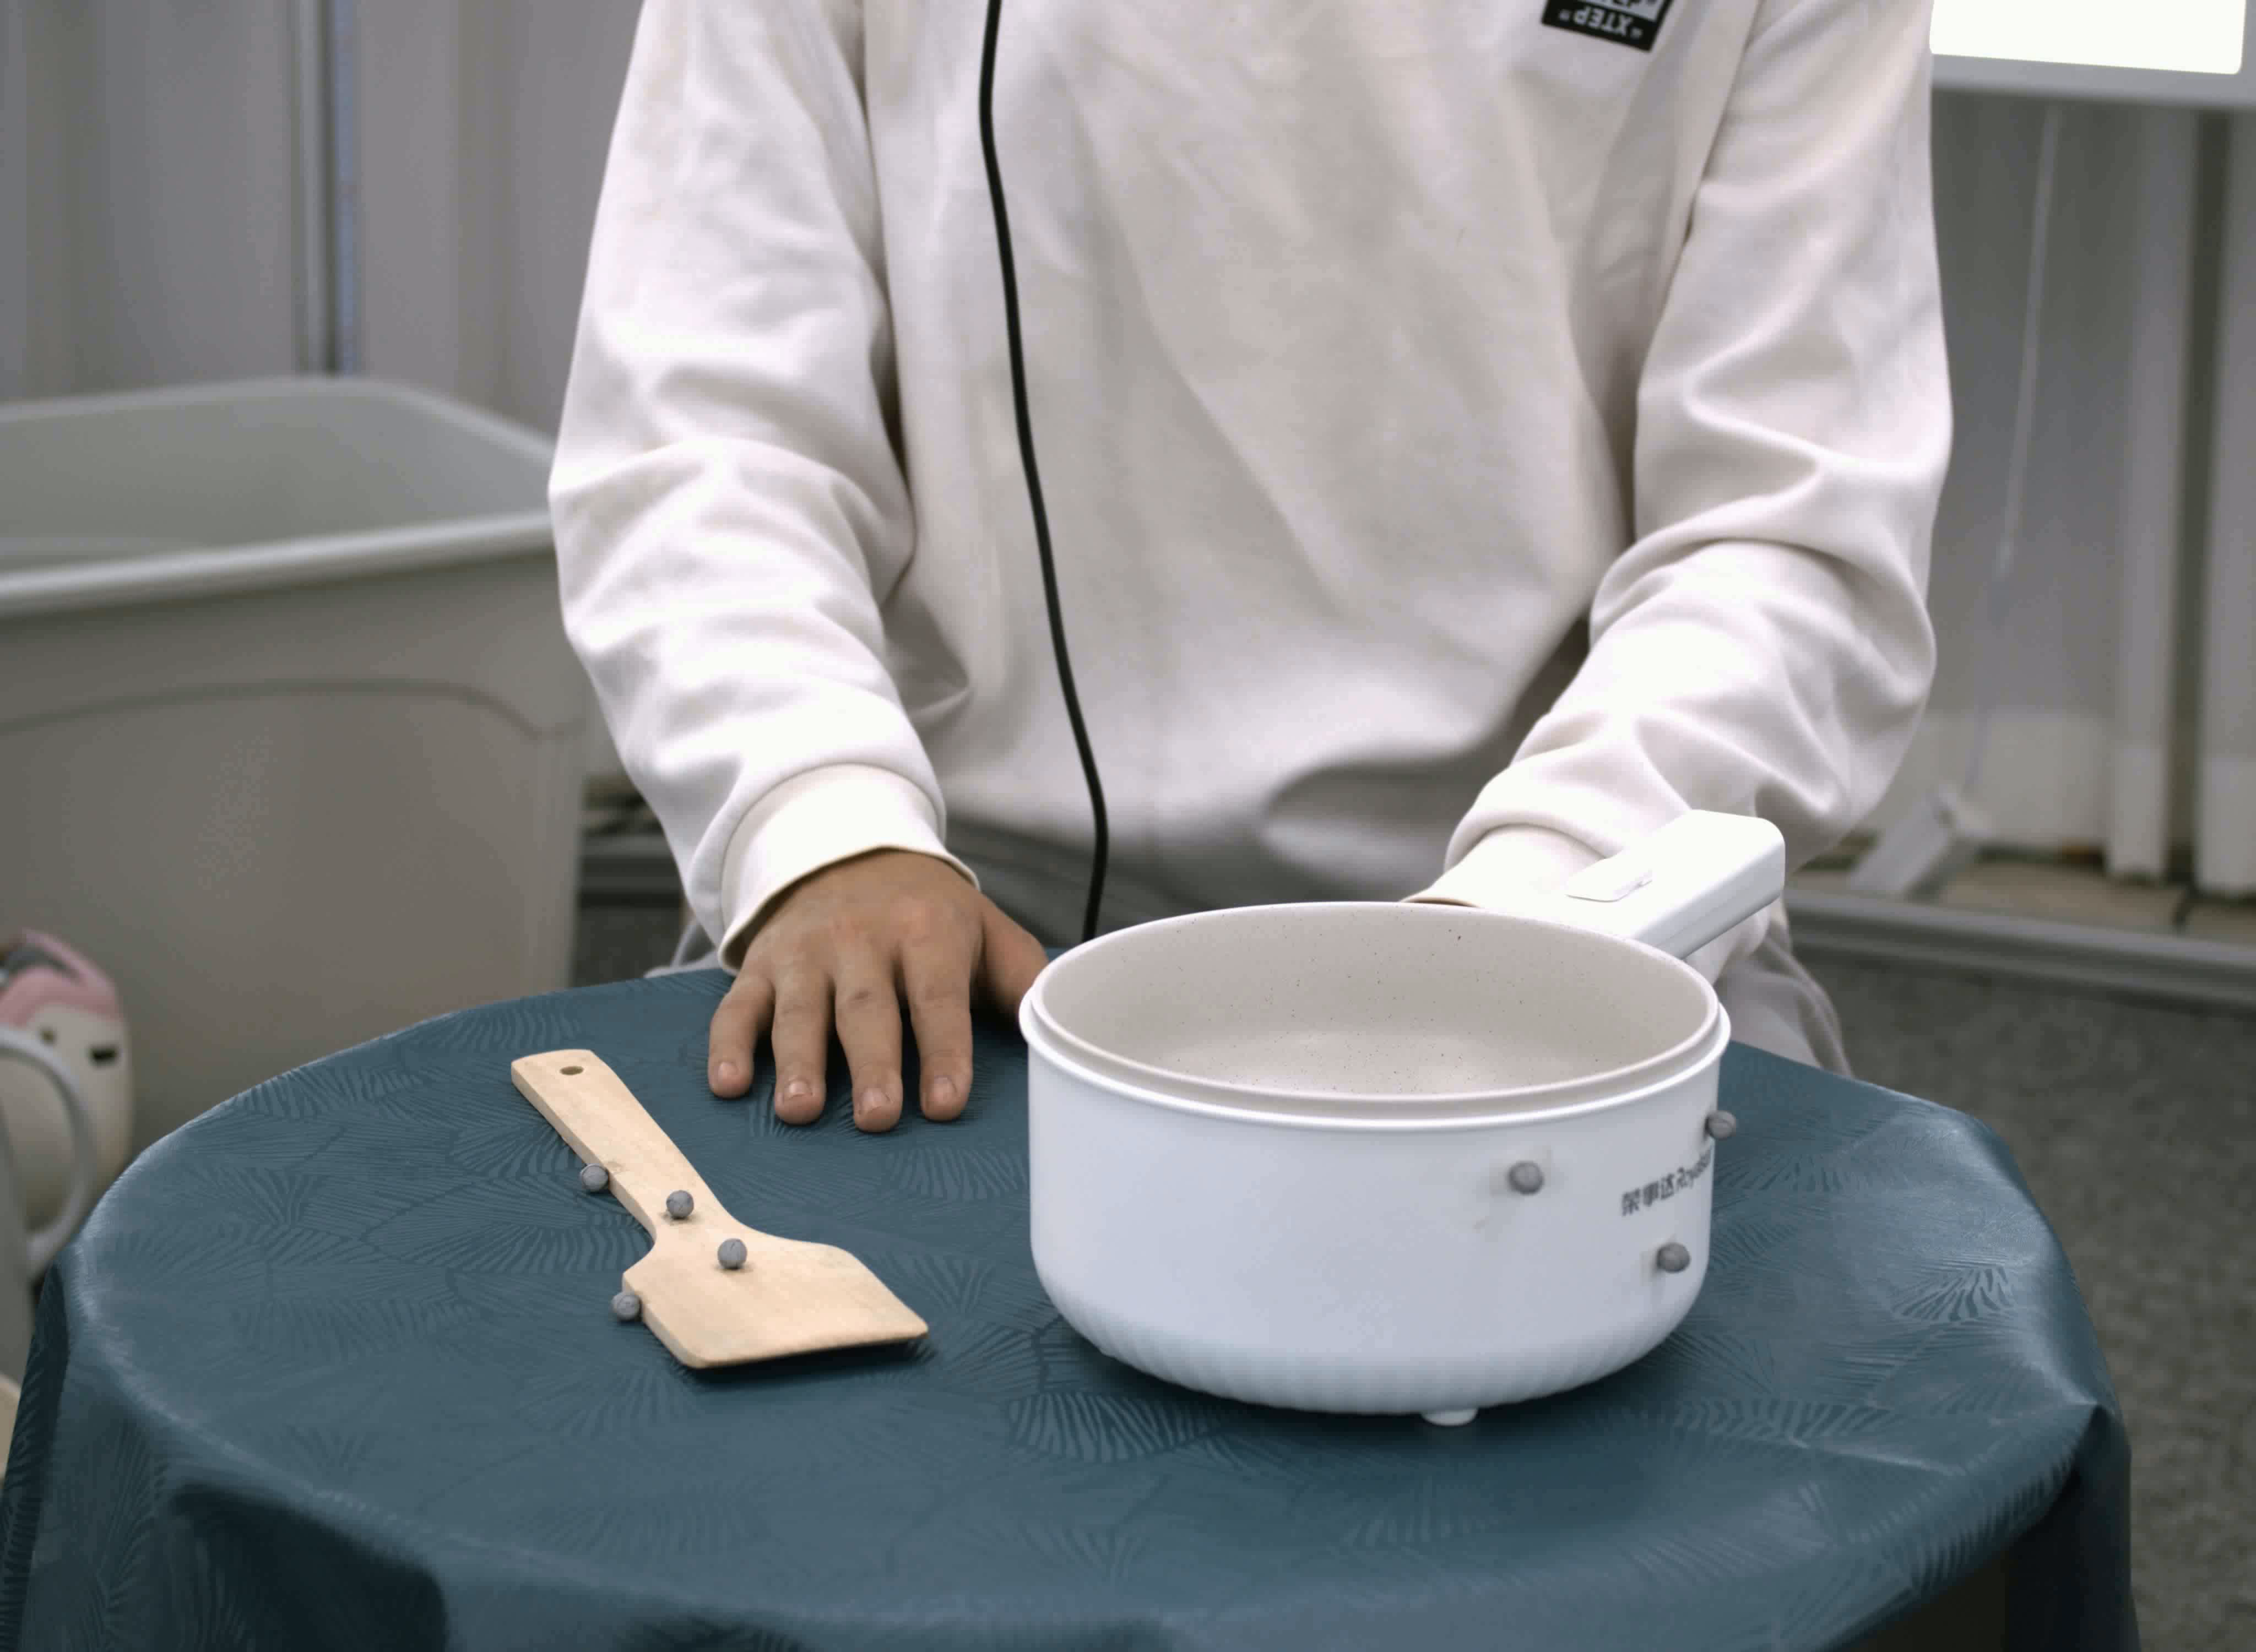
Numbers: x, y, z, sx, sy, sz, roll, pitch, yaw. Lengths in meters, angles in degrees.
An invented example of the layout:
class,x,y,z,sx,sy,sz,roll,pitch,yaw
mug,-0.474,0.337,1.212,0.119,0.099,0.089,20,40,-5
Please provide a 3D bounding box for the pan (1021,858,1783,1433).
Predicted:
class,x,y,z,sx,sy,sz,roll,pitch,yaw
pan,0.108,0.088,1.569,0.199,0.103,0.356,5,13,28
